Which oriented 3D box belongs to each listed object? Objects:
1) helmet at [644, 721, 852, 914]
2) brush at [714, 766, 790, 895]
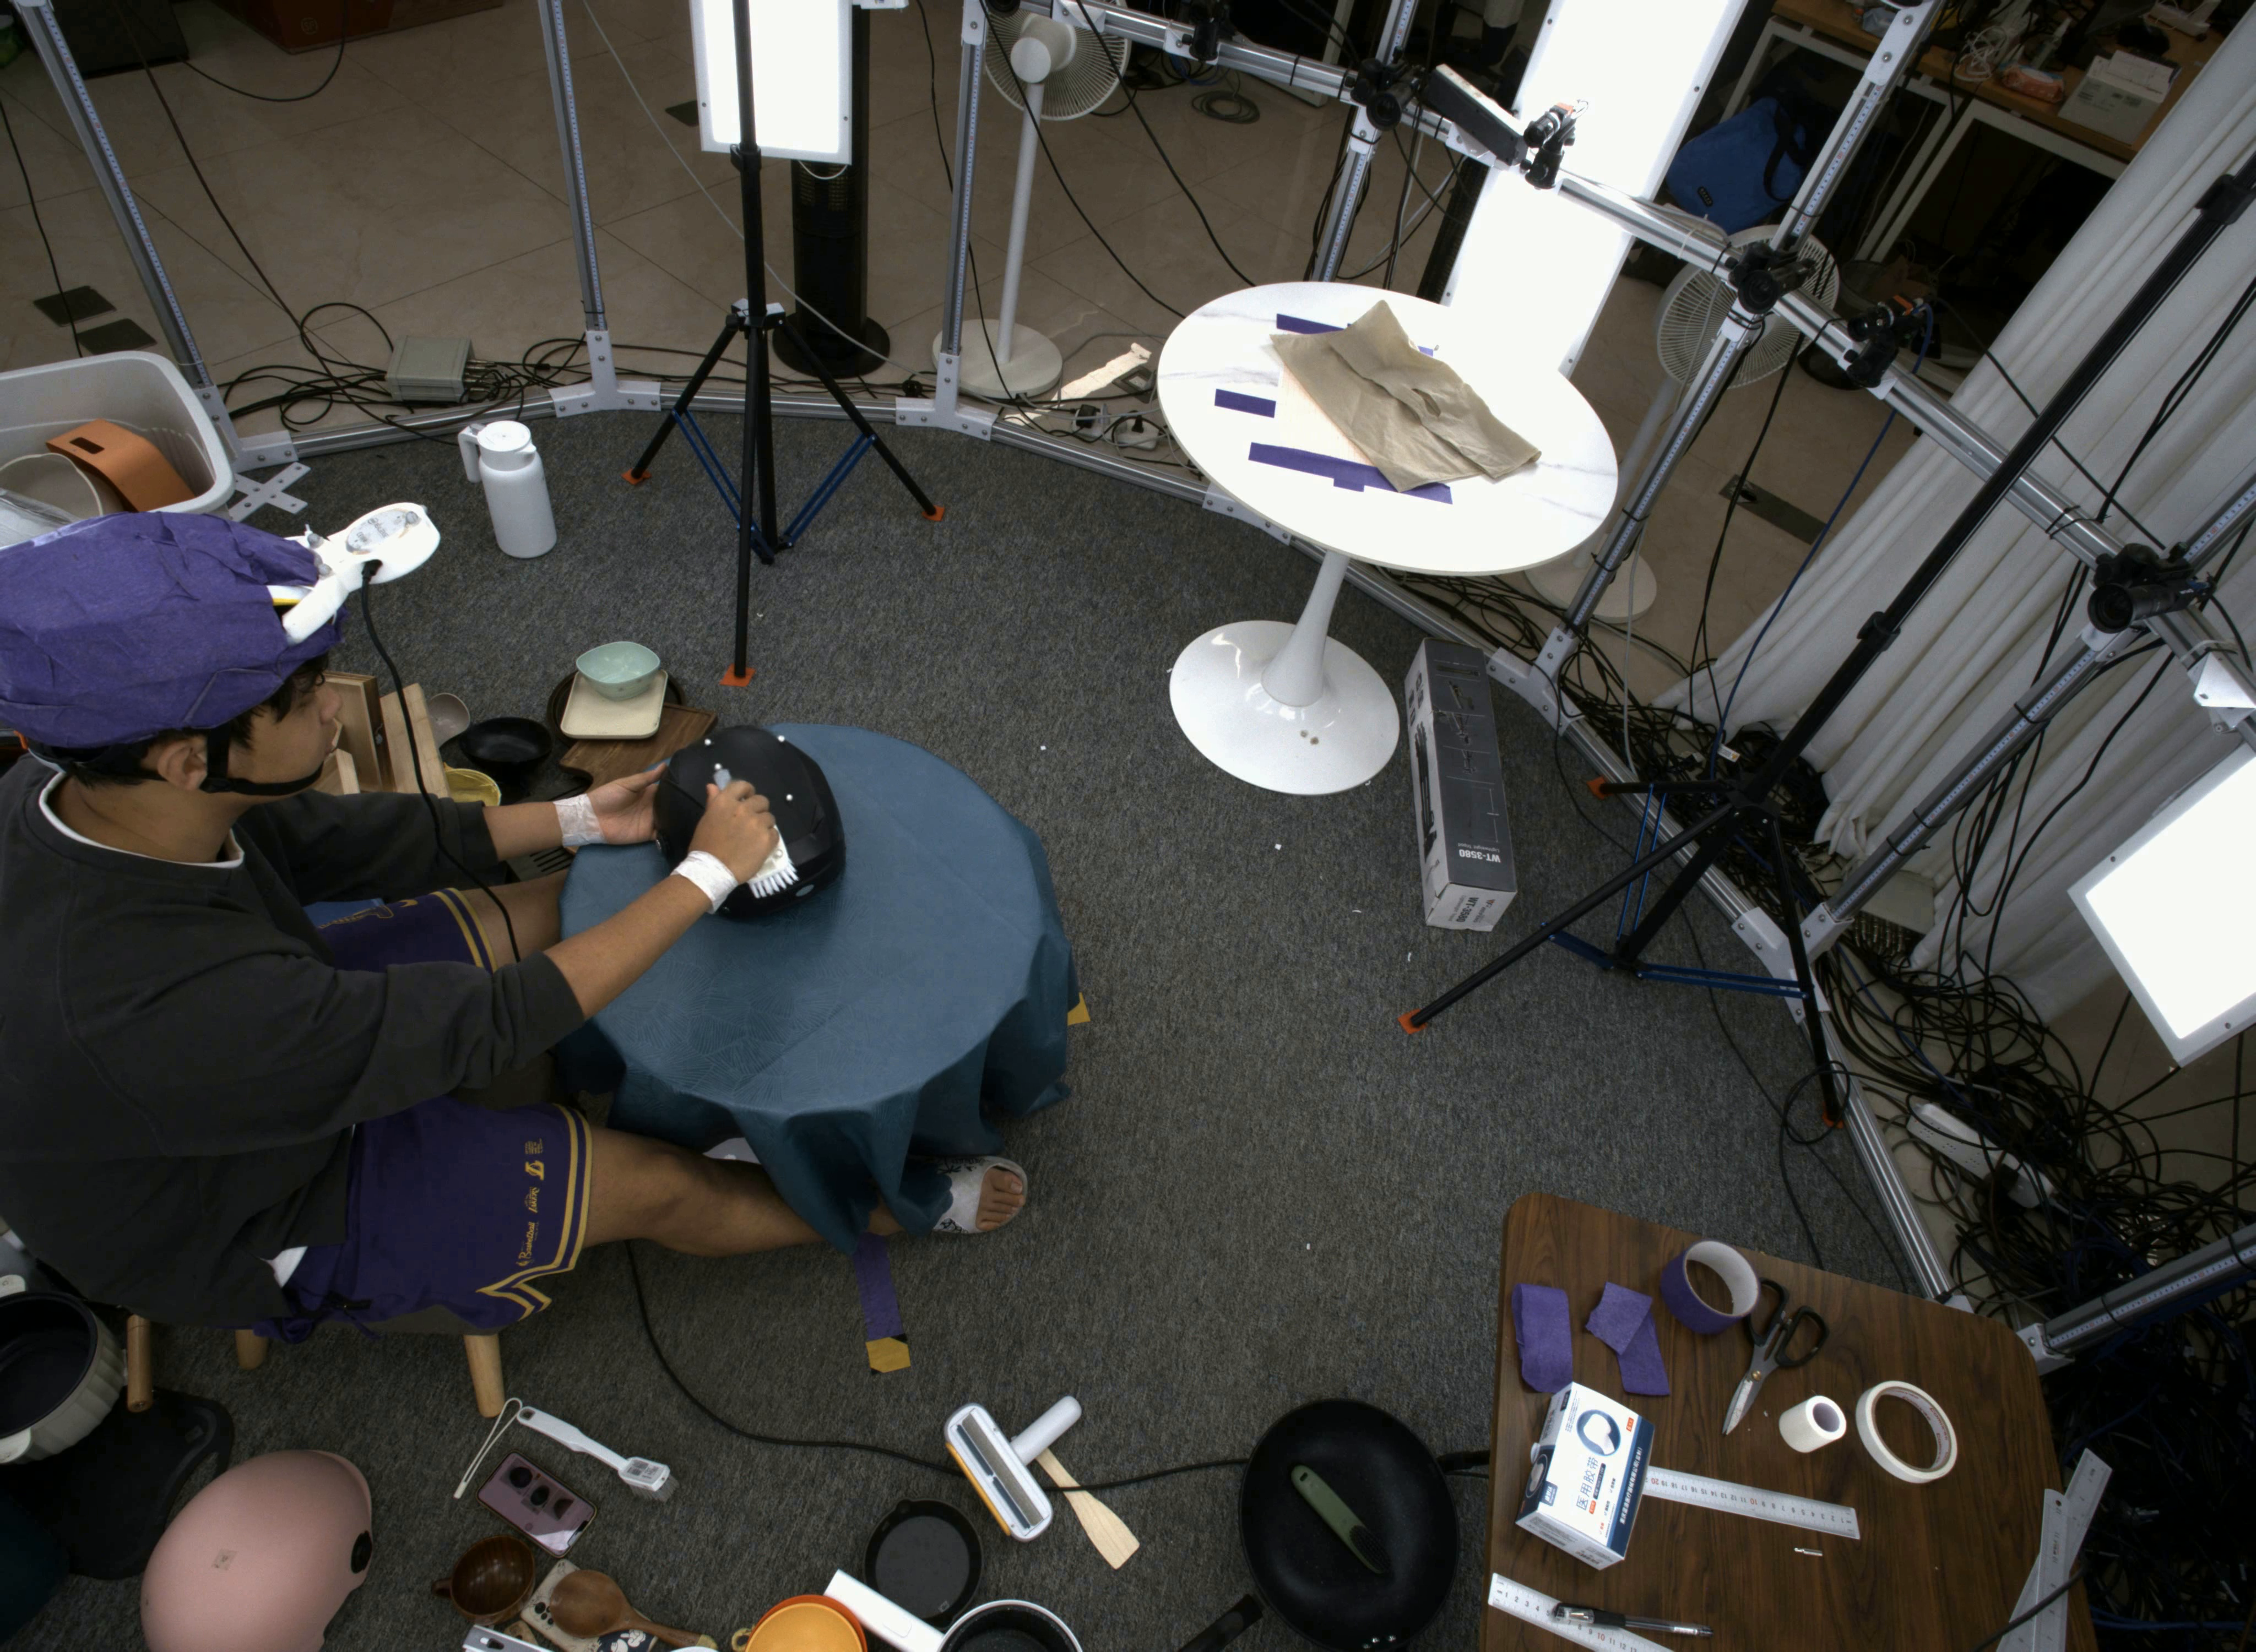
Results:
[{"bbox_3d":[-0.477,-0.028,1.634,0.248,0.175,0.271,-29,69,-31],"label":"helmet"},{"bbox_3d":[-0.443,-0.014,1.471,0.061,0.097,0.170,-23,55,-15],"label":"brush"}]
